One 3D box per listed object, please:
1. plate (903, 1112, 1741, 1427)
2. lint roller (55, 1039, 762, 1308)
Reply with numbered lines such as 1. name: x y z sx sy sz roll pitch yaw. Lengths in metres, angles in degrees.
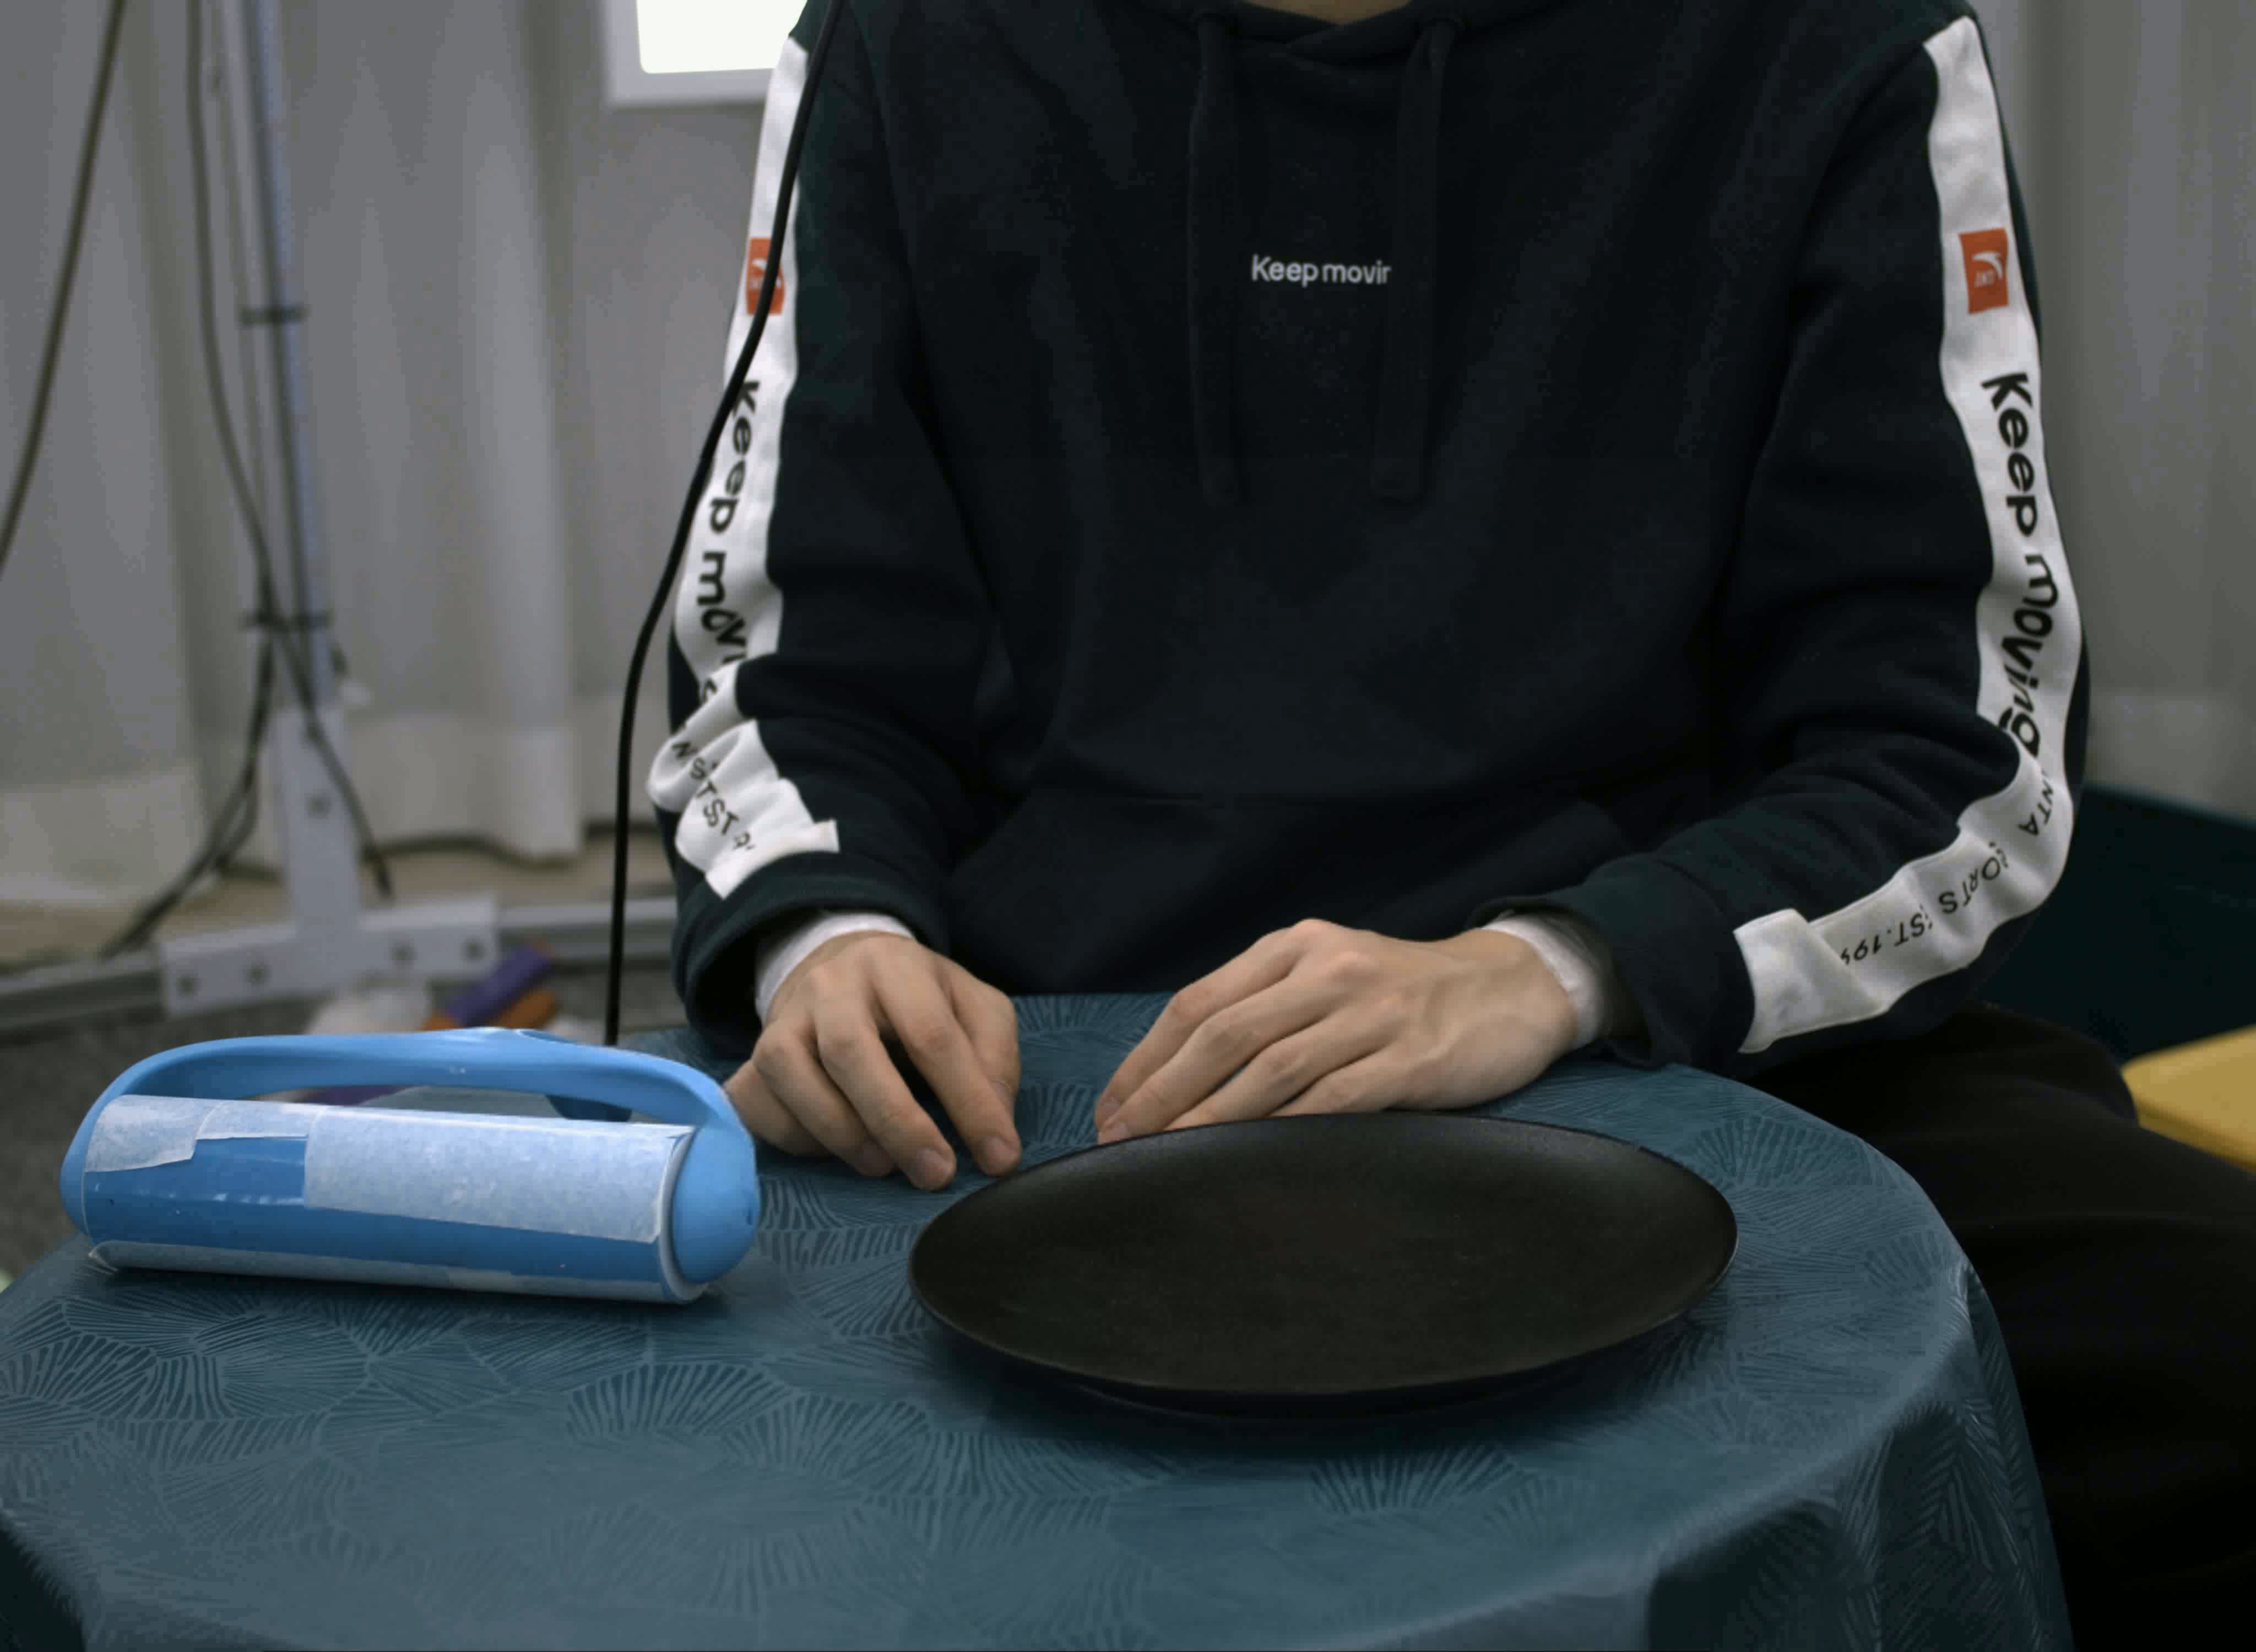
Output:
1. plate: 0.057 0.132 1.594 0.243 0.023 0.246 -3 15 0
2. lint roller: -0.204 0.097 1.714 0.229 0.067 0.181 0 15 16
